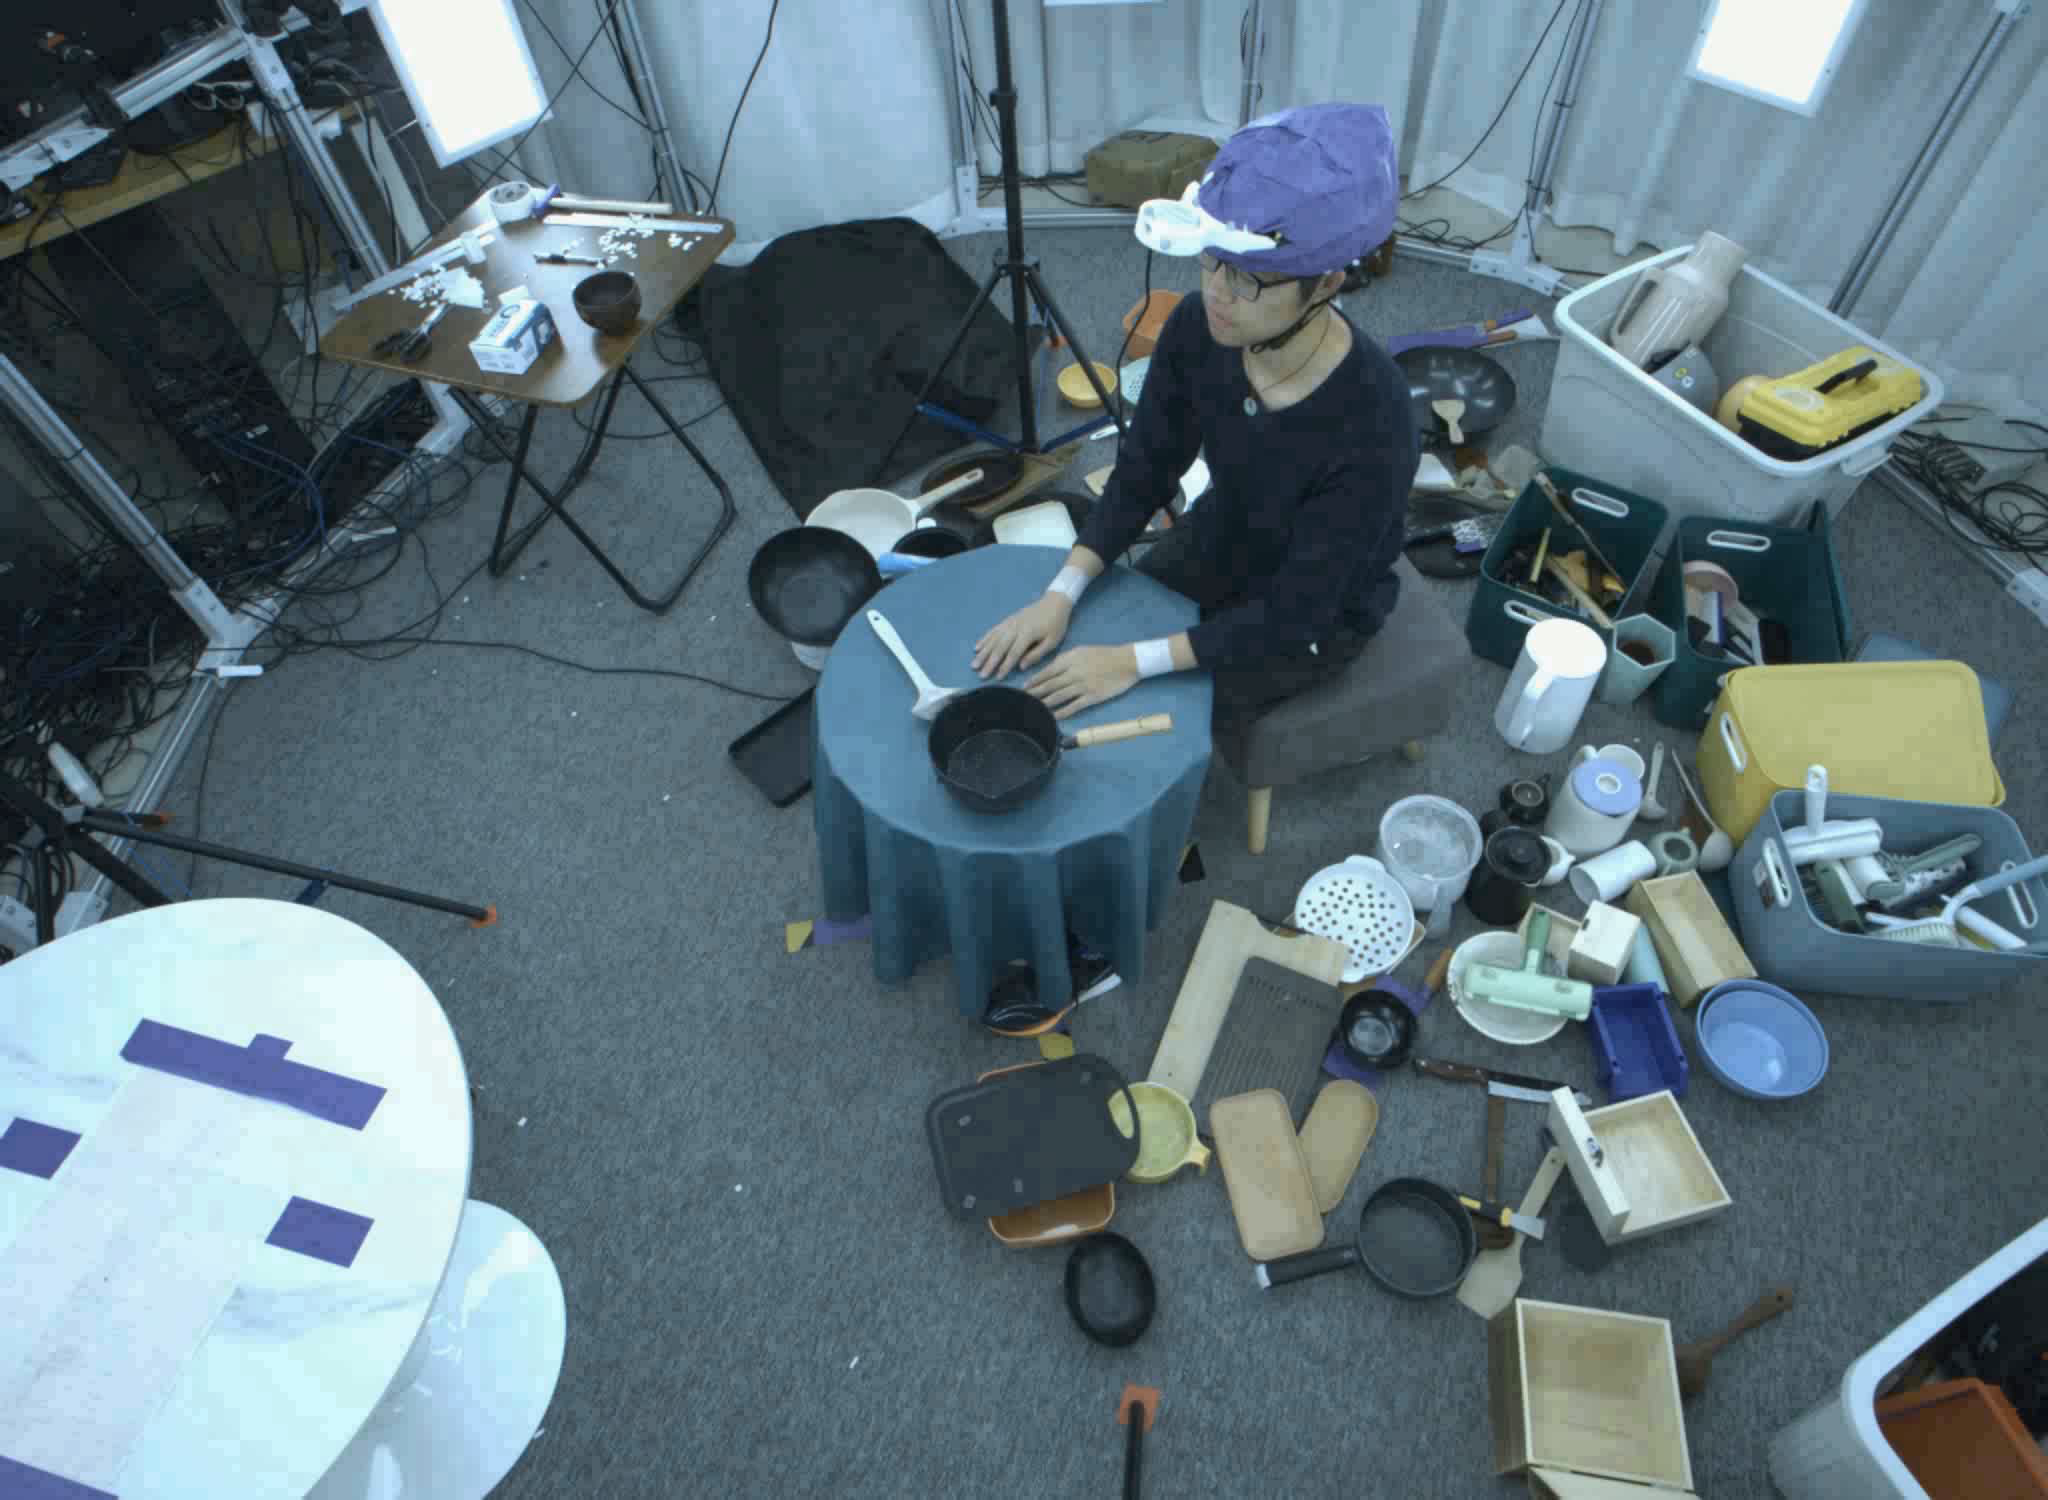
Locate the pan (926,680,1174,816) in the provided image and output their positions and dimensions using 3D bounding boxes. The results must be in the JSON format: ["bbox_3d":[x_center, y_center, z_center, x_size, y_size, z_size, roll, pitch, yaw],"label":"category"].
[{"bbox_3d":[0.038,-0.006,1.723,0.343,0.109,0.205,-5,54,1],"label":"pan"}]

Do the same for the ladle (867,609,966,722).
[{"bbox_3d":[-0.180,-0.147,1.856,0.090,0.070,0.269,-30,59,-12],"label":"ladle"}]
